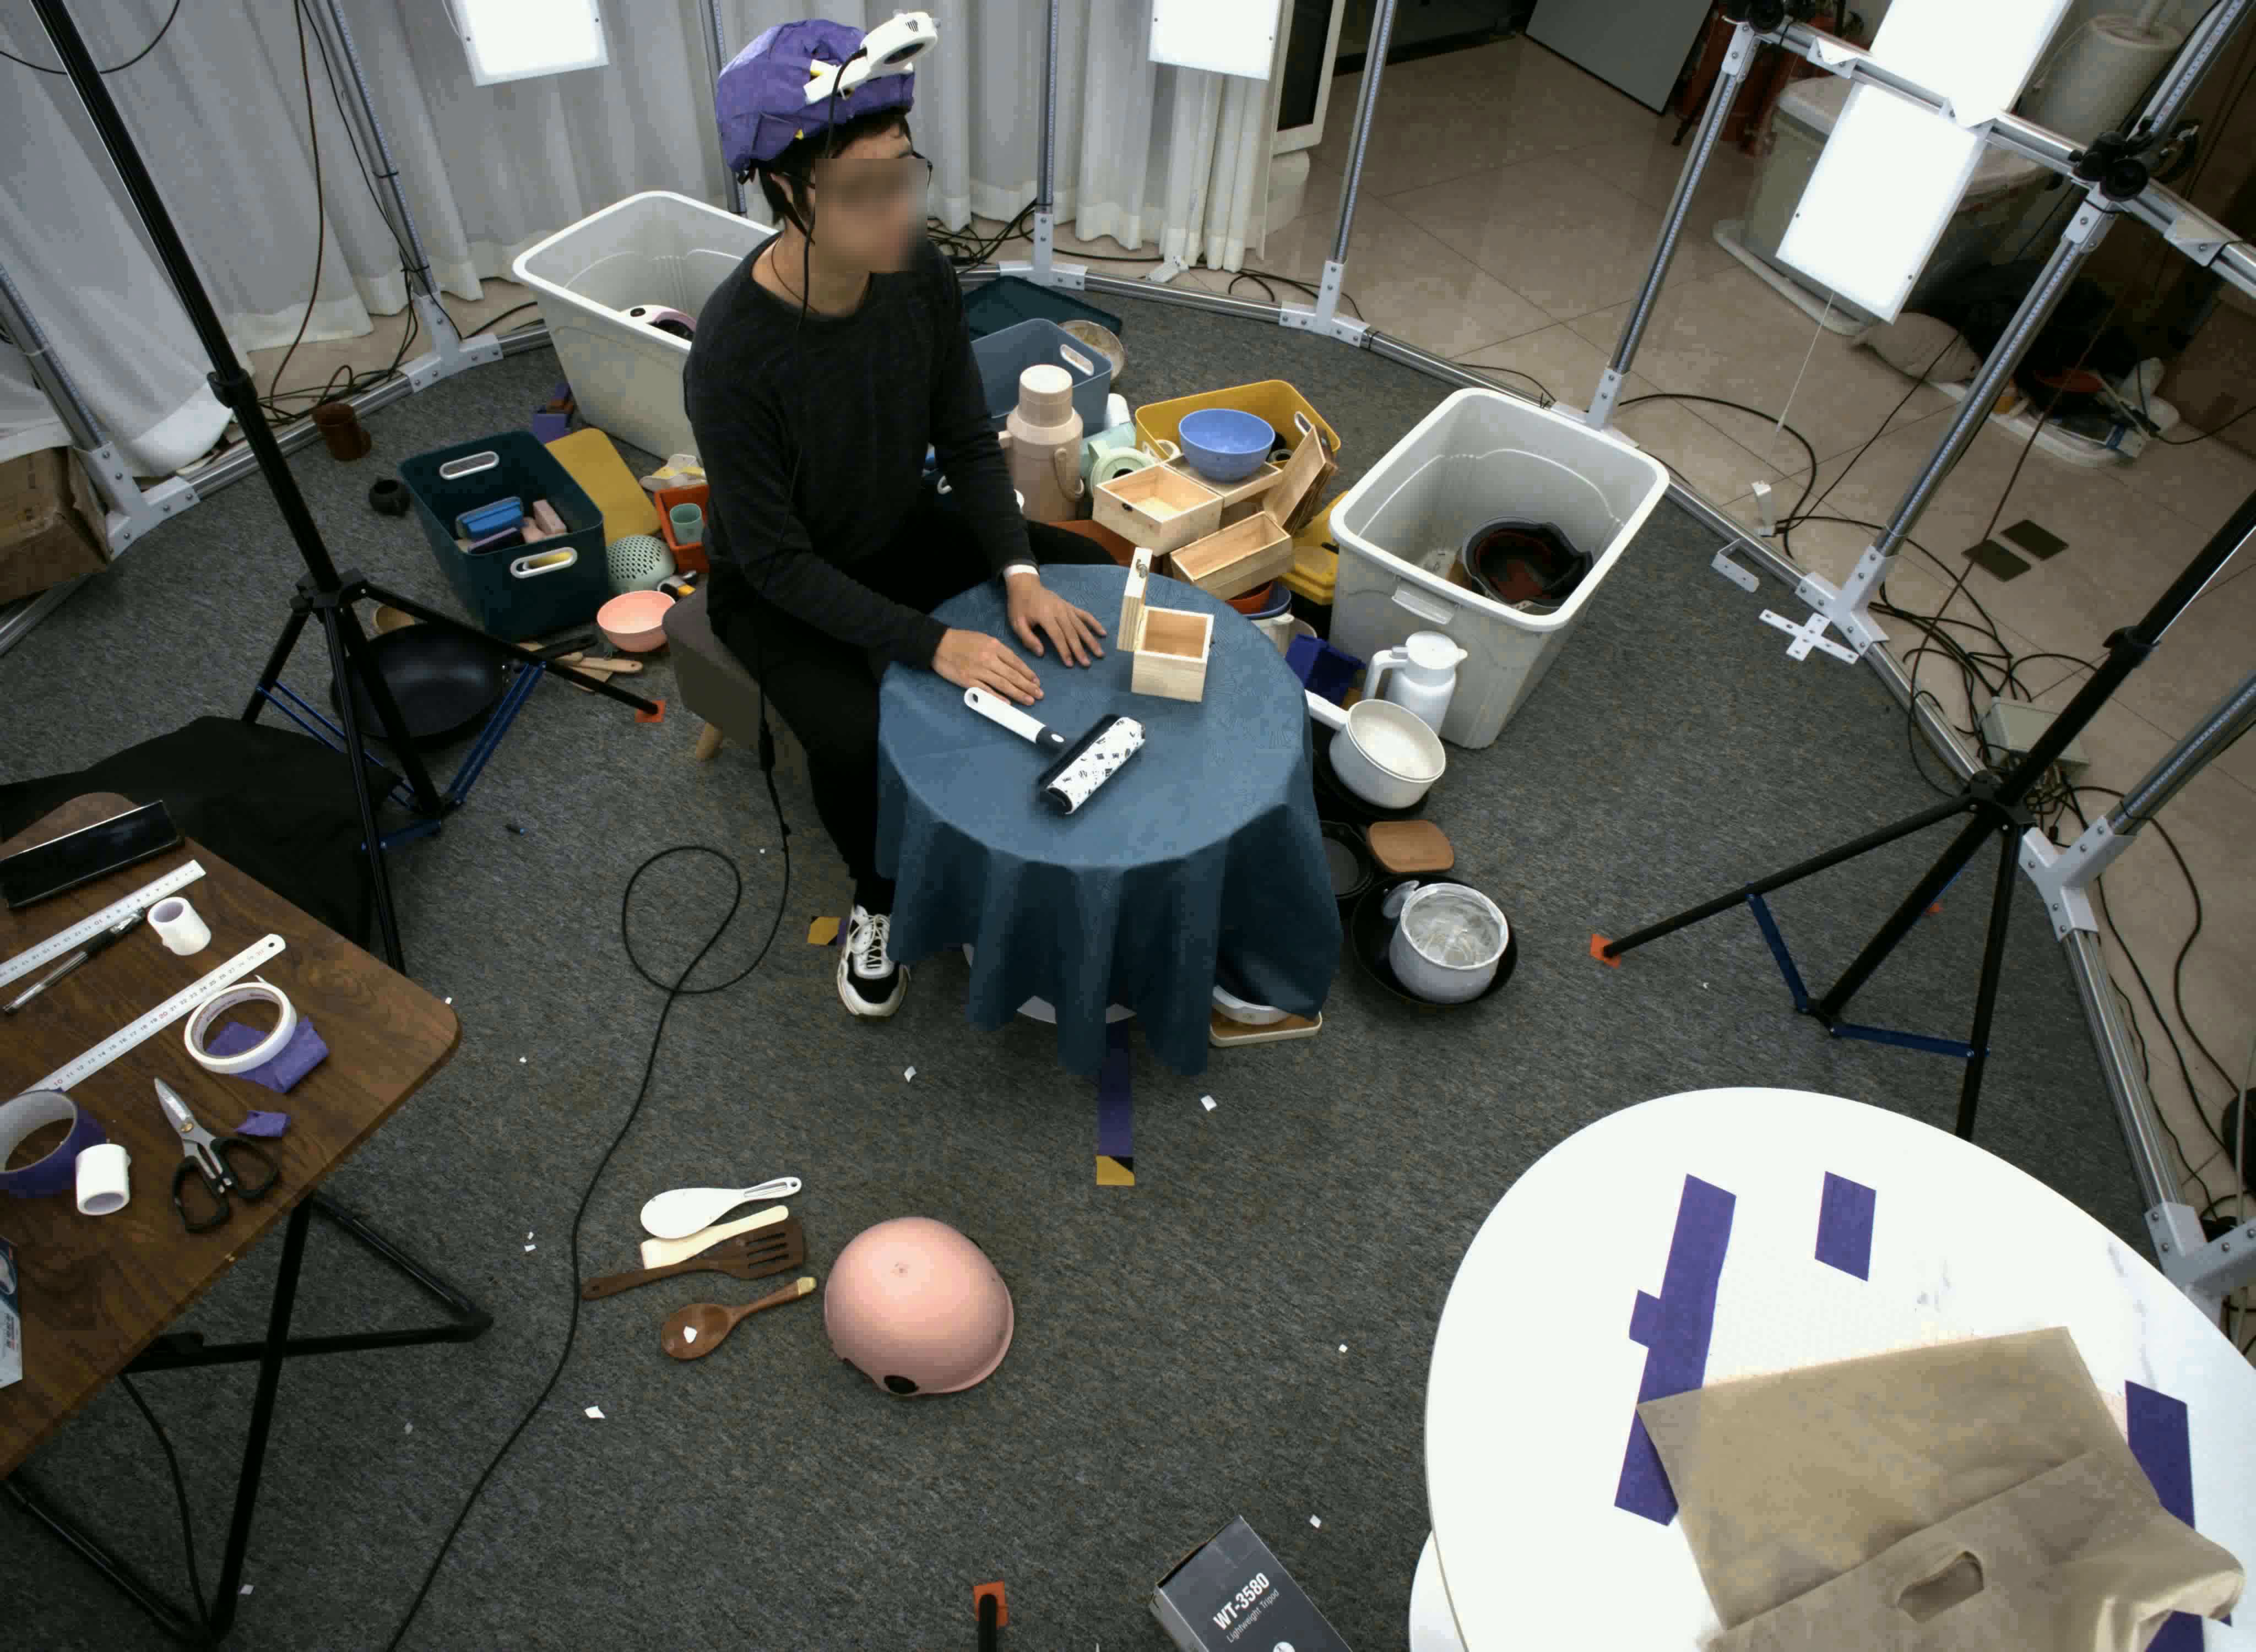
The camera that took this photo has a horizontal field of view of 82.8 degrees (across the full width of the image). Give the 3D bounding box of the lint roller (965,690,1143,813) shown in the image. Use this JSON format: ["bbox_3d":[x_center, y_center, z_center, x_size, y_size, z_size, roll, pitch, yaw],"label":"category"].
[{"bbox_3d":[-0.125,-0.129,1.746,0.250,0.049,0.178,30,54,21],"label":"lint roller"}]

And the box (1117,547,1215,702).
[{"bbox_3d":[0.058,-0.281,1.800,0.134,0.180,0.105,8,49,4],"label":"box"}]
